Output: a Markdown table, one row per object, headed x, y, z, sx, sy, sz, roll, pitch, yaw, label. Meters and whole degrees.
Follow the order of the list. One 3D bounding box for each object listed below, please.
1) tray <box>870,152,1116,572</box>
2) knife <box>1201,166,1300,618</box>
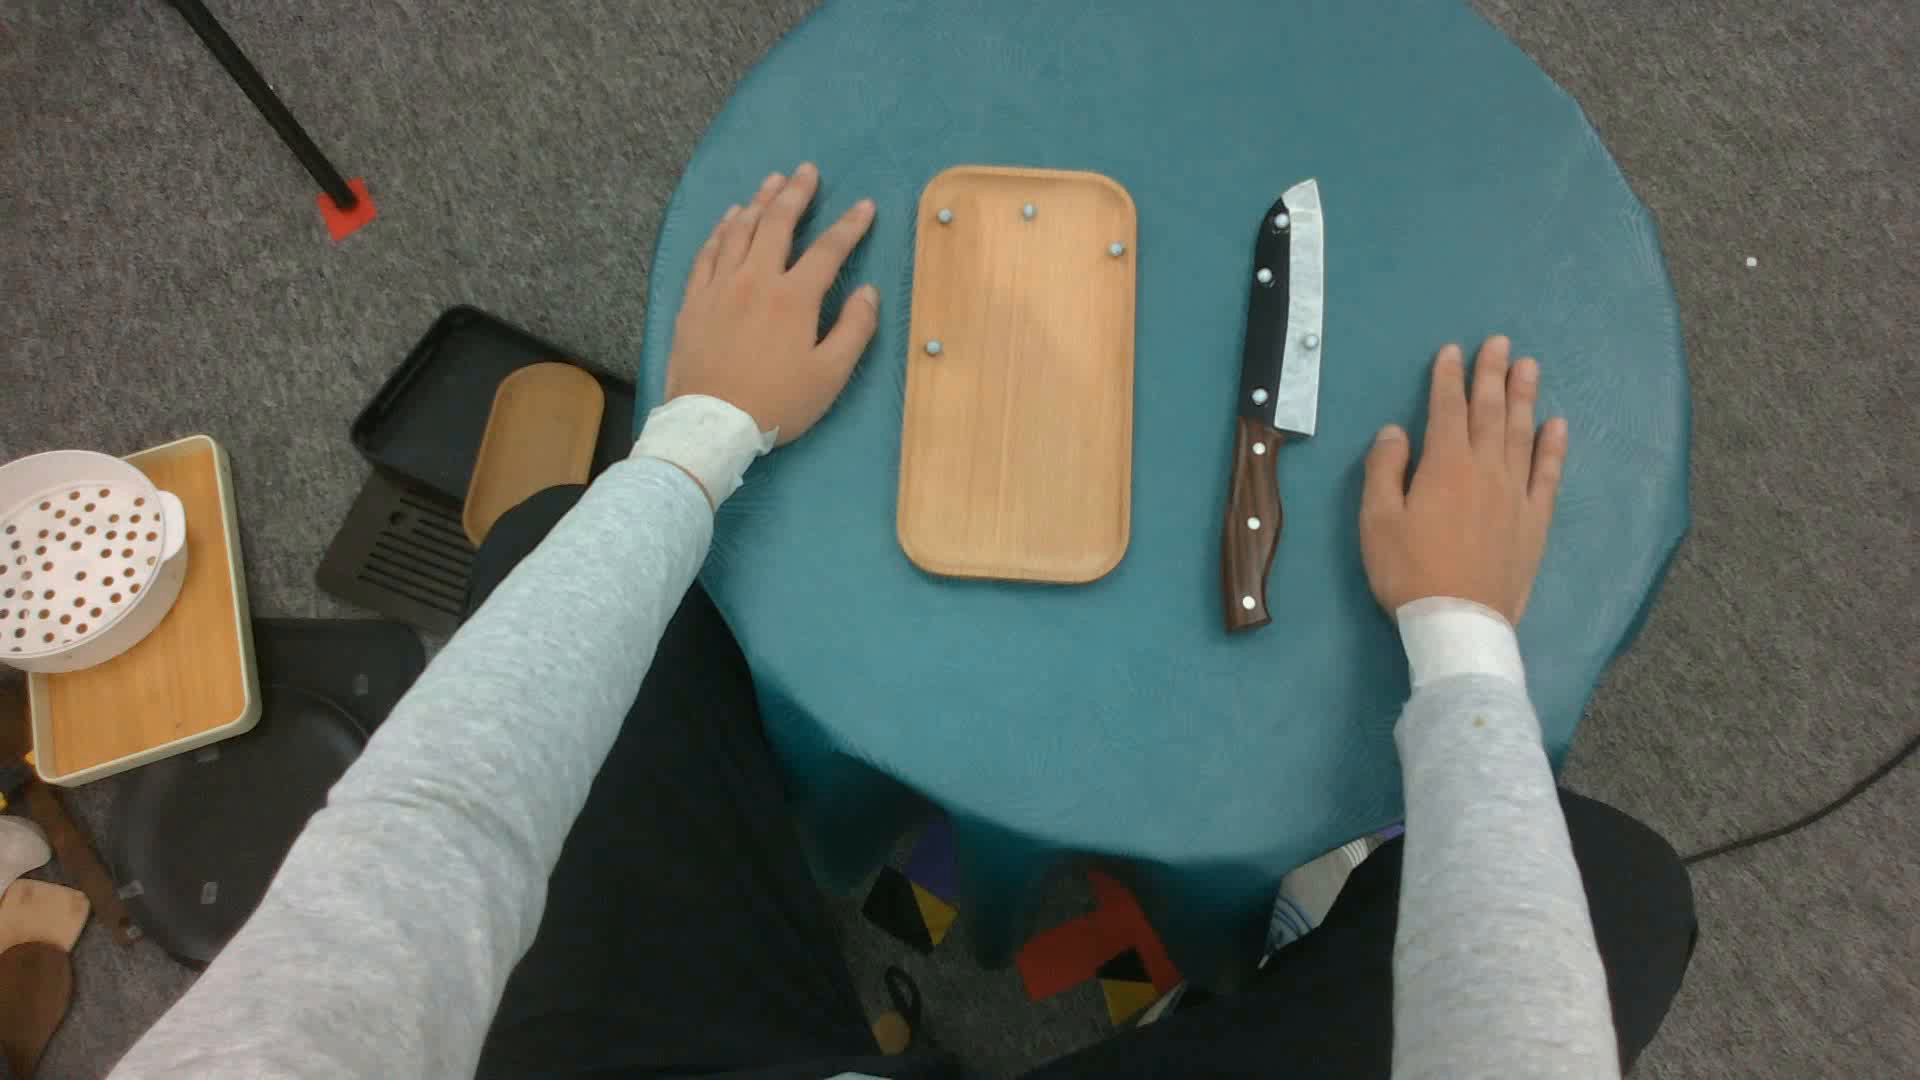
| x | y | z | sx | sy | sz | roll | pitch | yaw | label |
| --- | --- | --- | --- | --- | --- | --- | --- | --- | --- |
| 0.021 | -0.104 | 0.775 | 0.130 | 0.023 | 0.251 | 4 | 73 | 1 | tray |
| 0.166 | -0.092 | 0.777 | 0.050 | 0.020 | 0.290 | 13 | 70 | -3 | knife |
